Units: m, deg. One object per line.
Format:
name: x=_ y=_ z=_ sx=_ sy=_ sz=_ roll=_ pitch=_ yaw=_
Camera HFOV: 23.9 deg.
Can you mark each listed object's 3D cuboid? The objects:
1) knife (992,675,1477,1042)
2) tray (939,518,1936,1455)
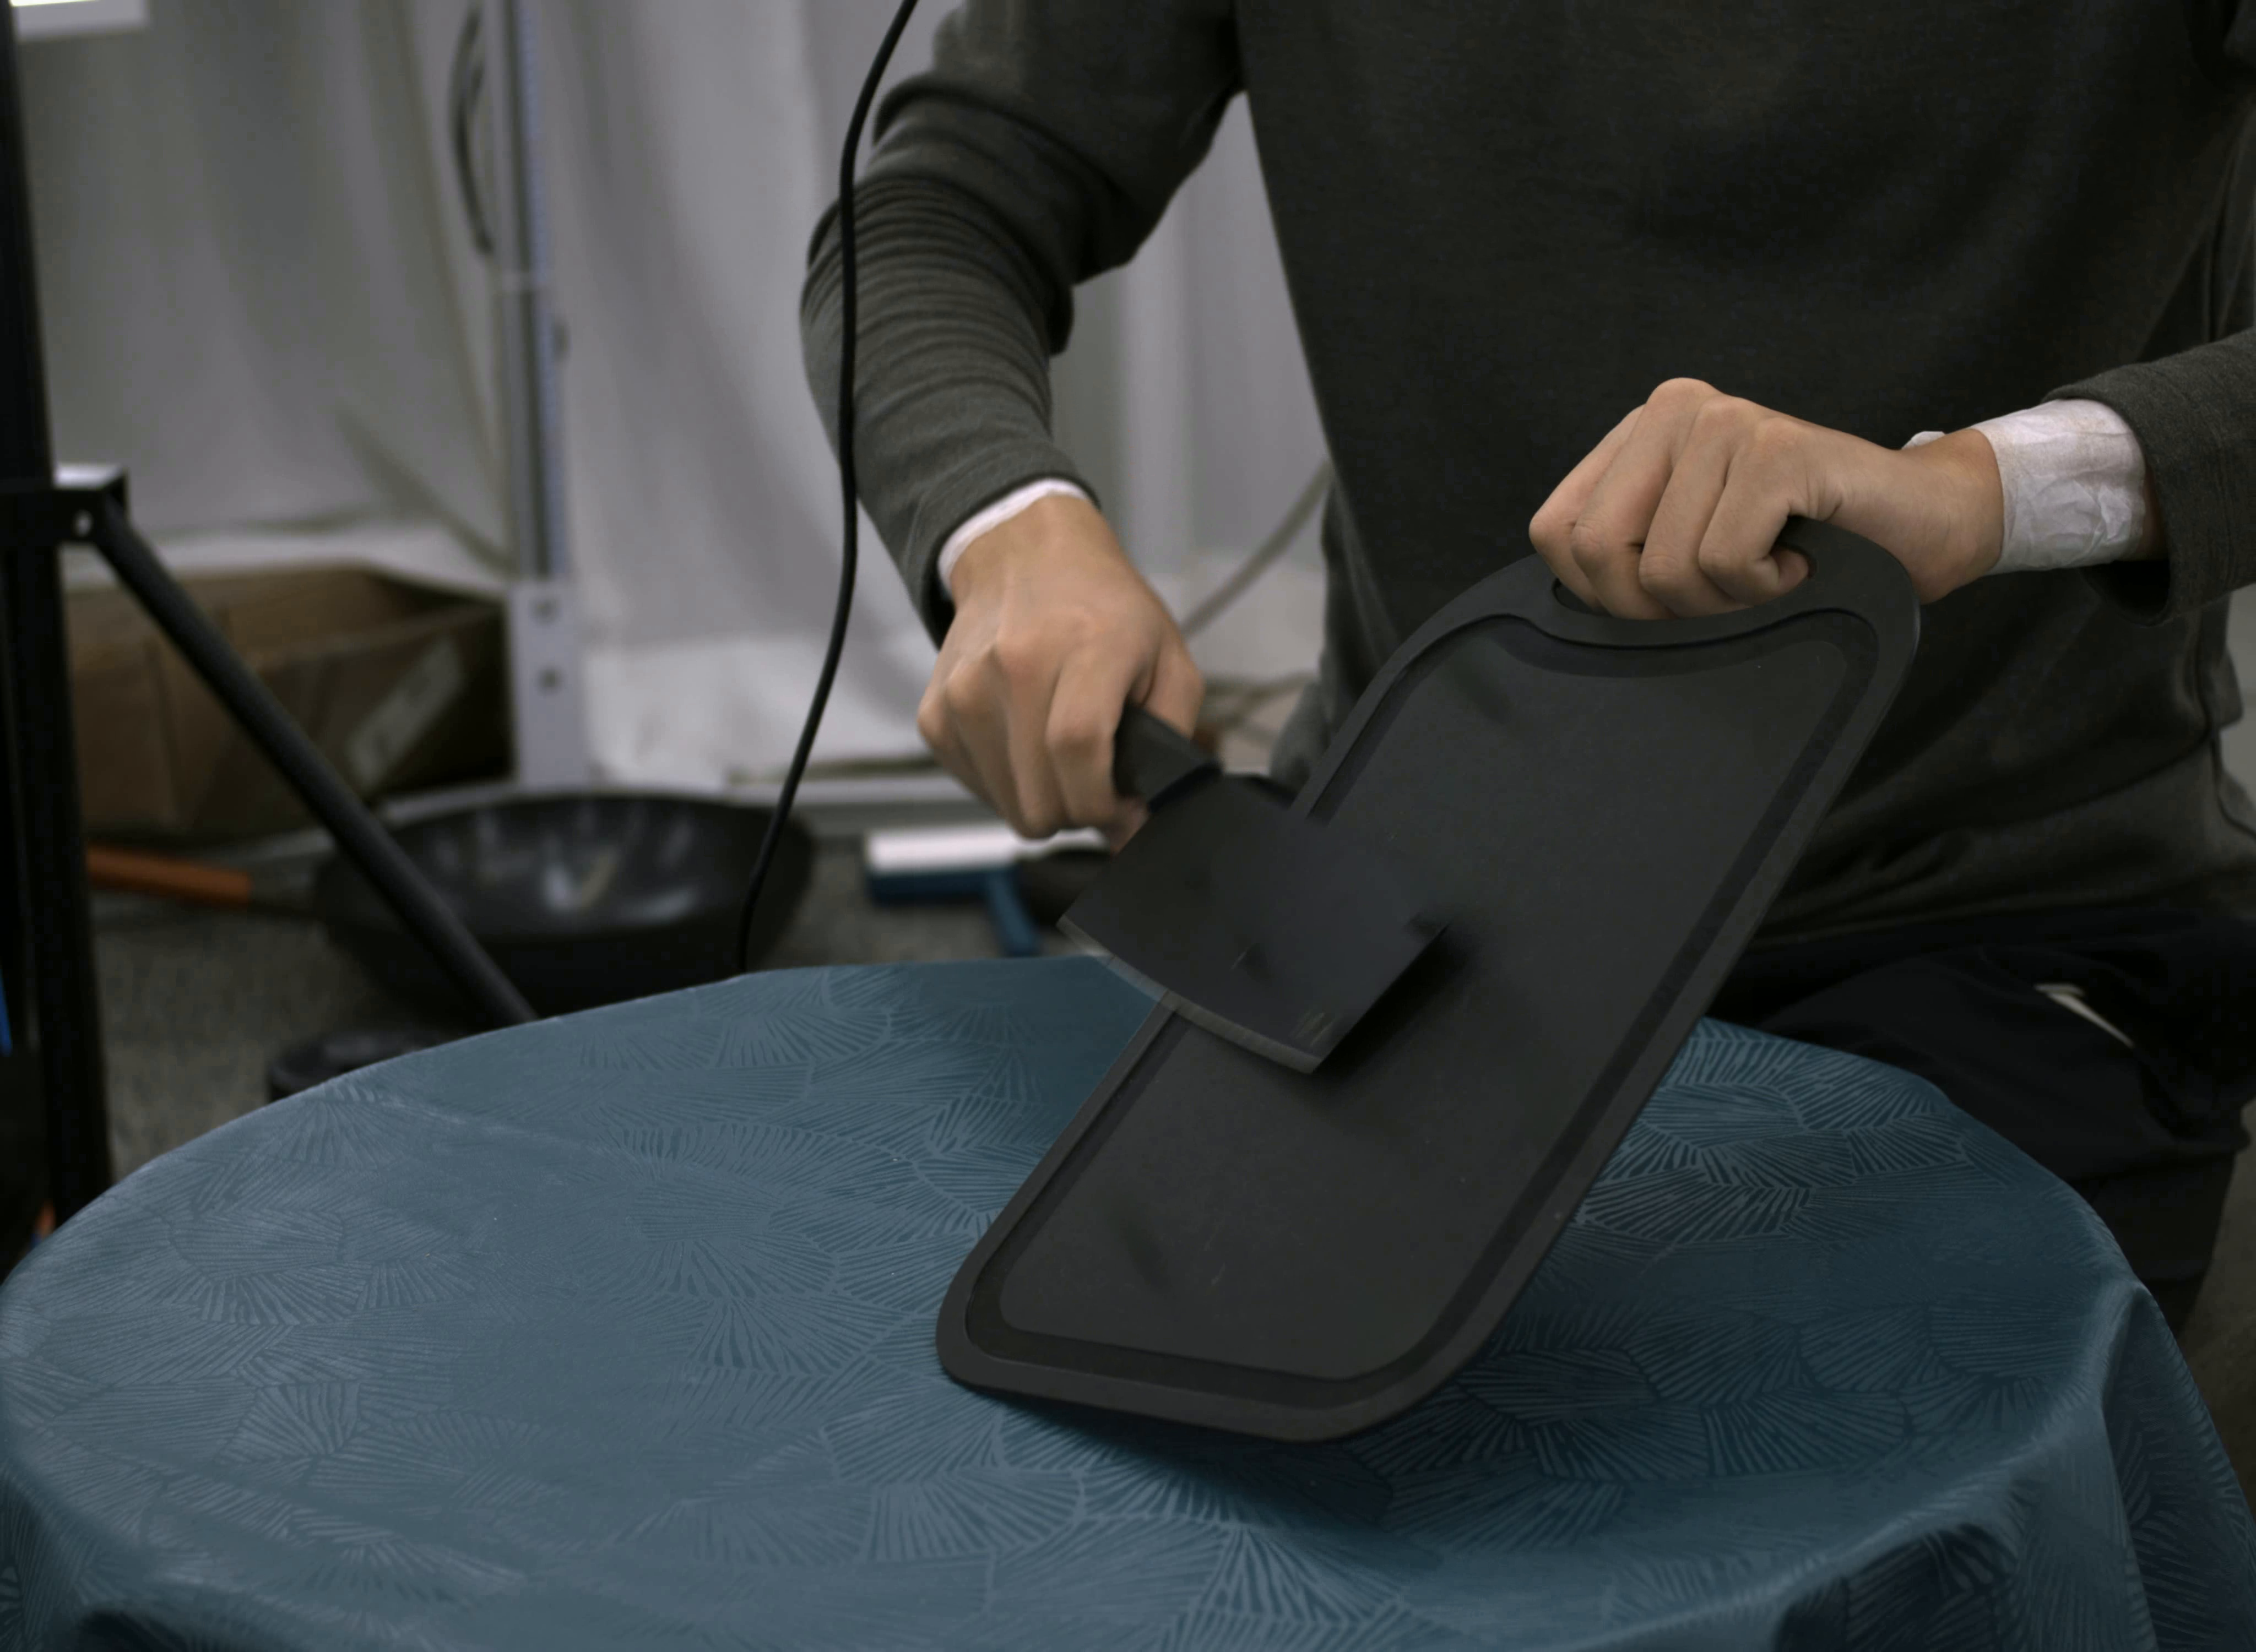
knife: x=0.019 y=0.004 z=1.558 sx=0.081 sy=0.020 sz=0.307 roll=-45 pitch=25 yaw=-3
tray: x=0.085 y=0.033 z=1.431 sx=0.215 sy=0.009 sz=0.324 roll=3 pitch=50 yaw=51
